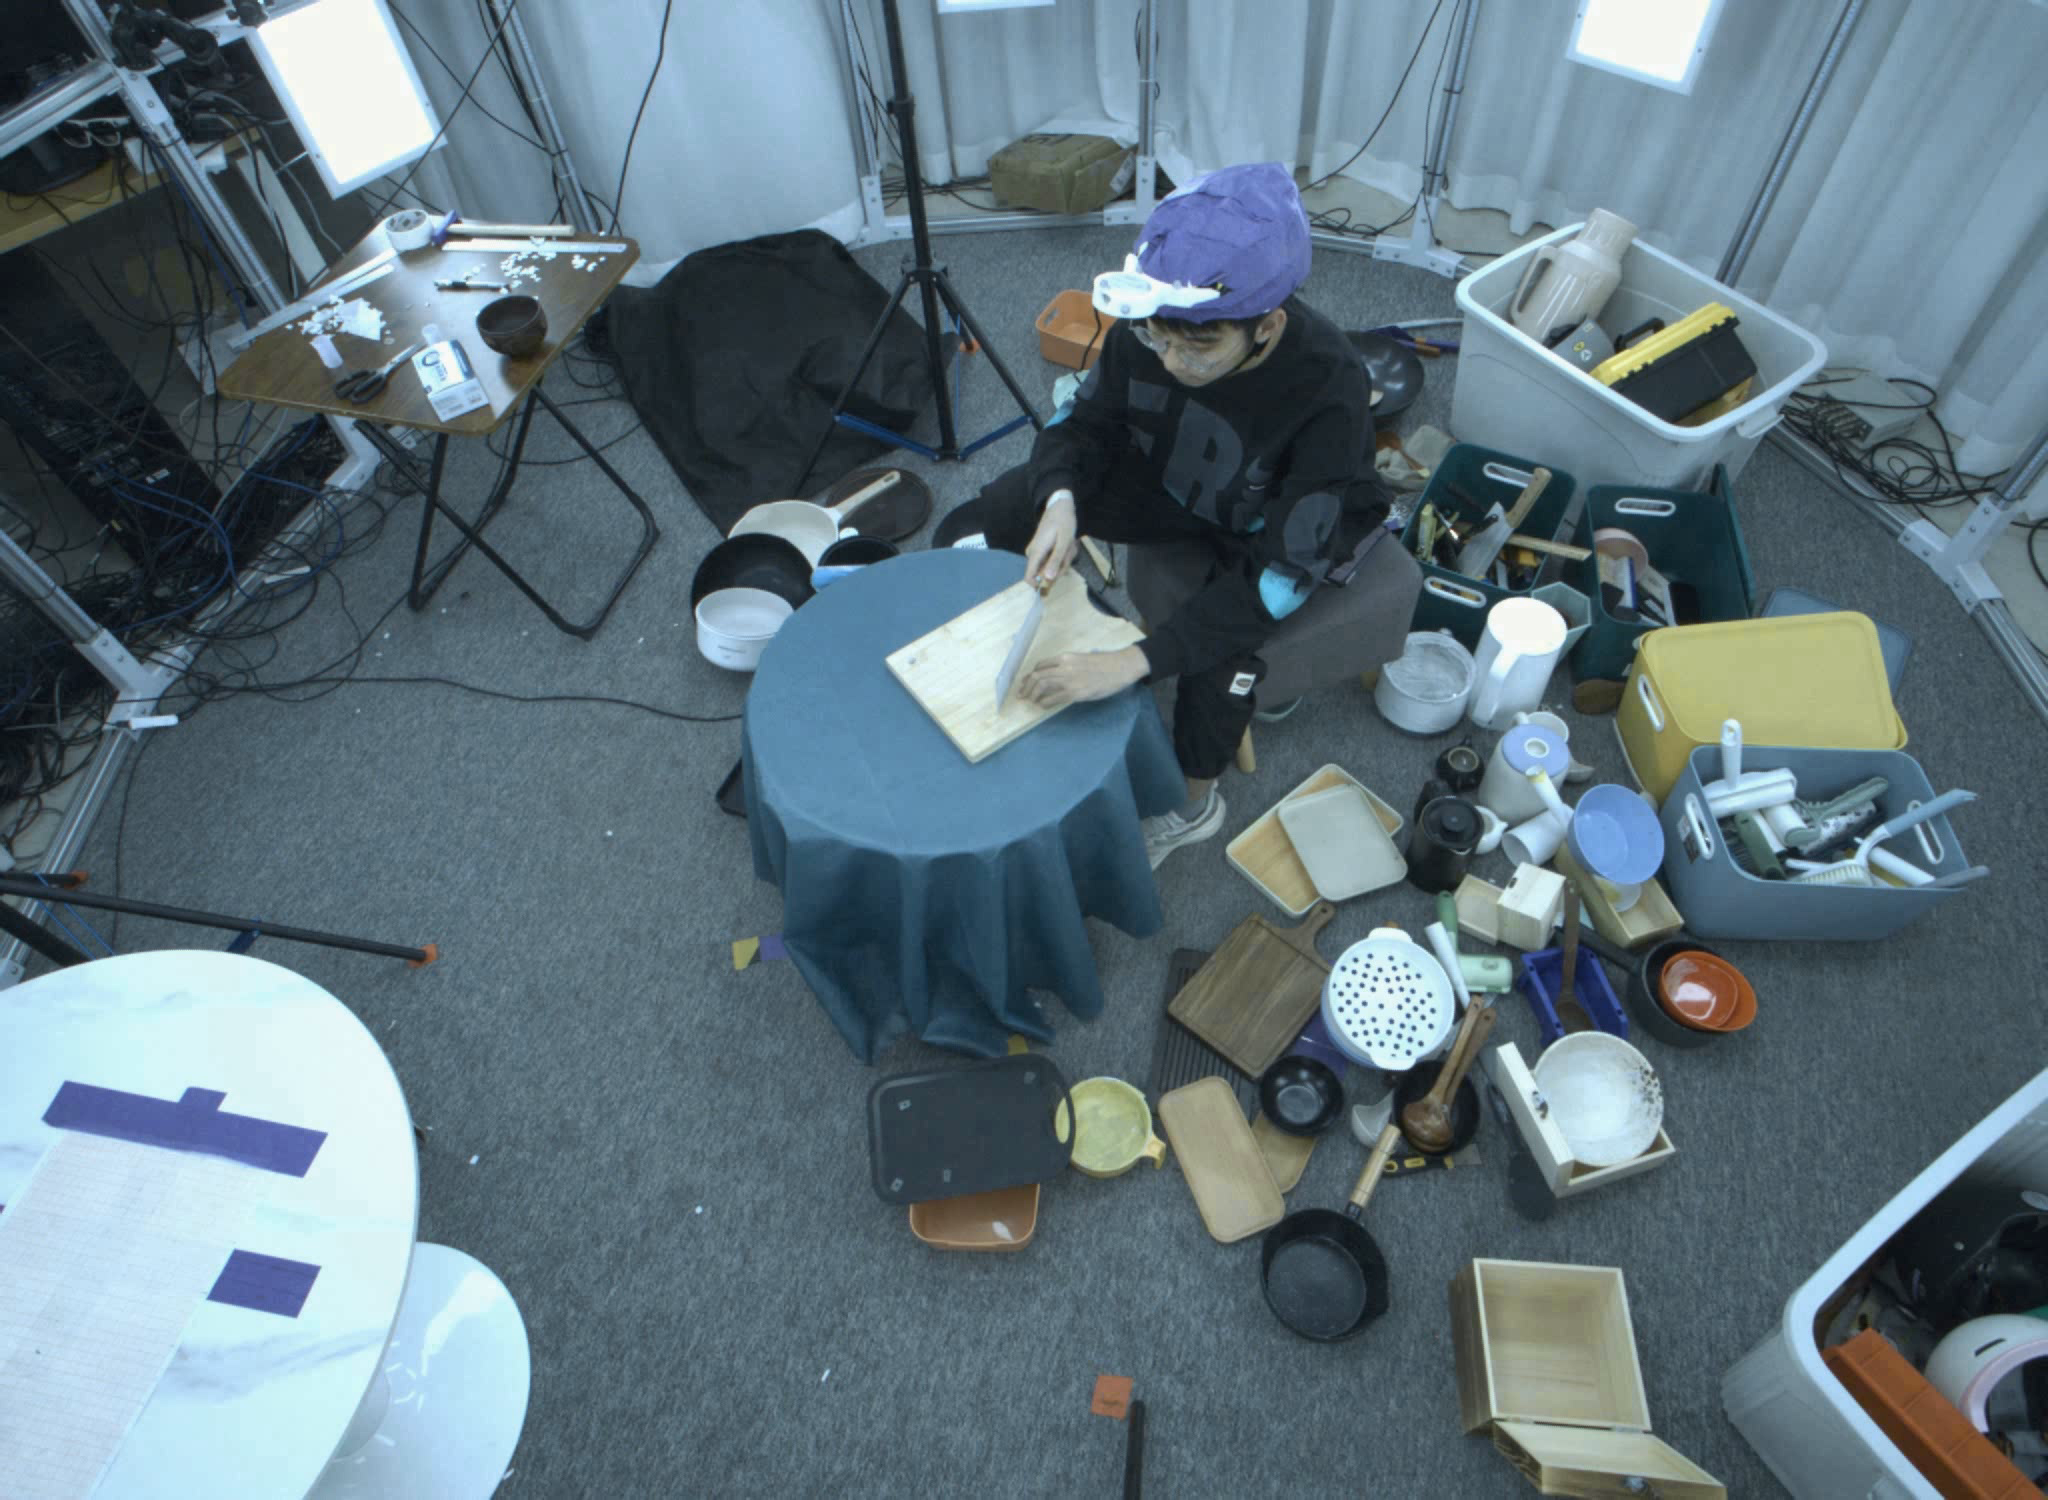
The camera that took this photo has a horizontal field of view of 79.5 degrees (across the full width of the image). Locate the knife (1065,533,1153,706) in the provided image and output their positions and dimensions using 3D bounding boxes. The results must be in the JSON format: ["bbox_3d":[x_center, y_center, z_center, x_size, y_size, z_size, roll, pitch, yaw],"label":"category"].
[{"bbox_3d":[0.125,-0.192,1.826,0.021,0.094,0.306,21,62,14],"label":"knife"}]

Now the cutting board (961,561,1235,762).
[{"bbox_3d":[0.109,-0.143,1.873,0.351,0.024,0.246,-29,59,-17],"label":"cutting board"}]
